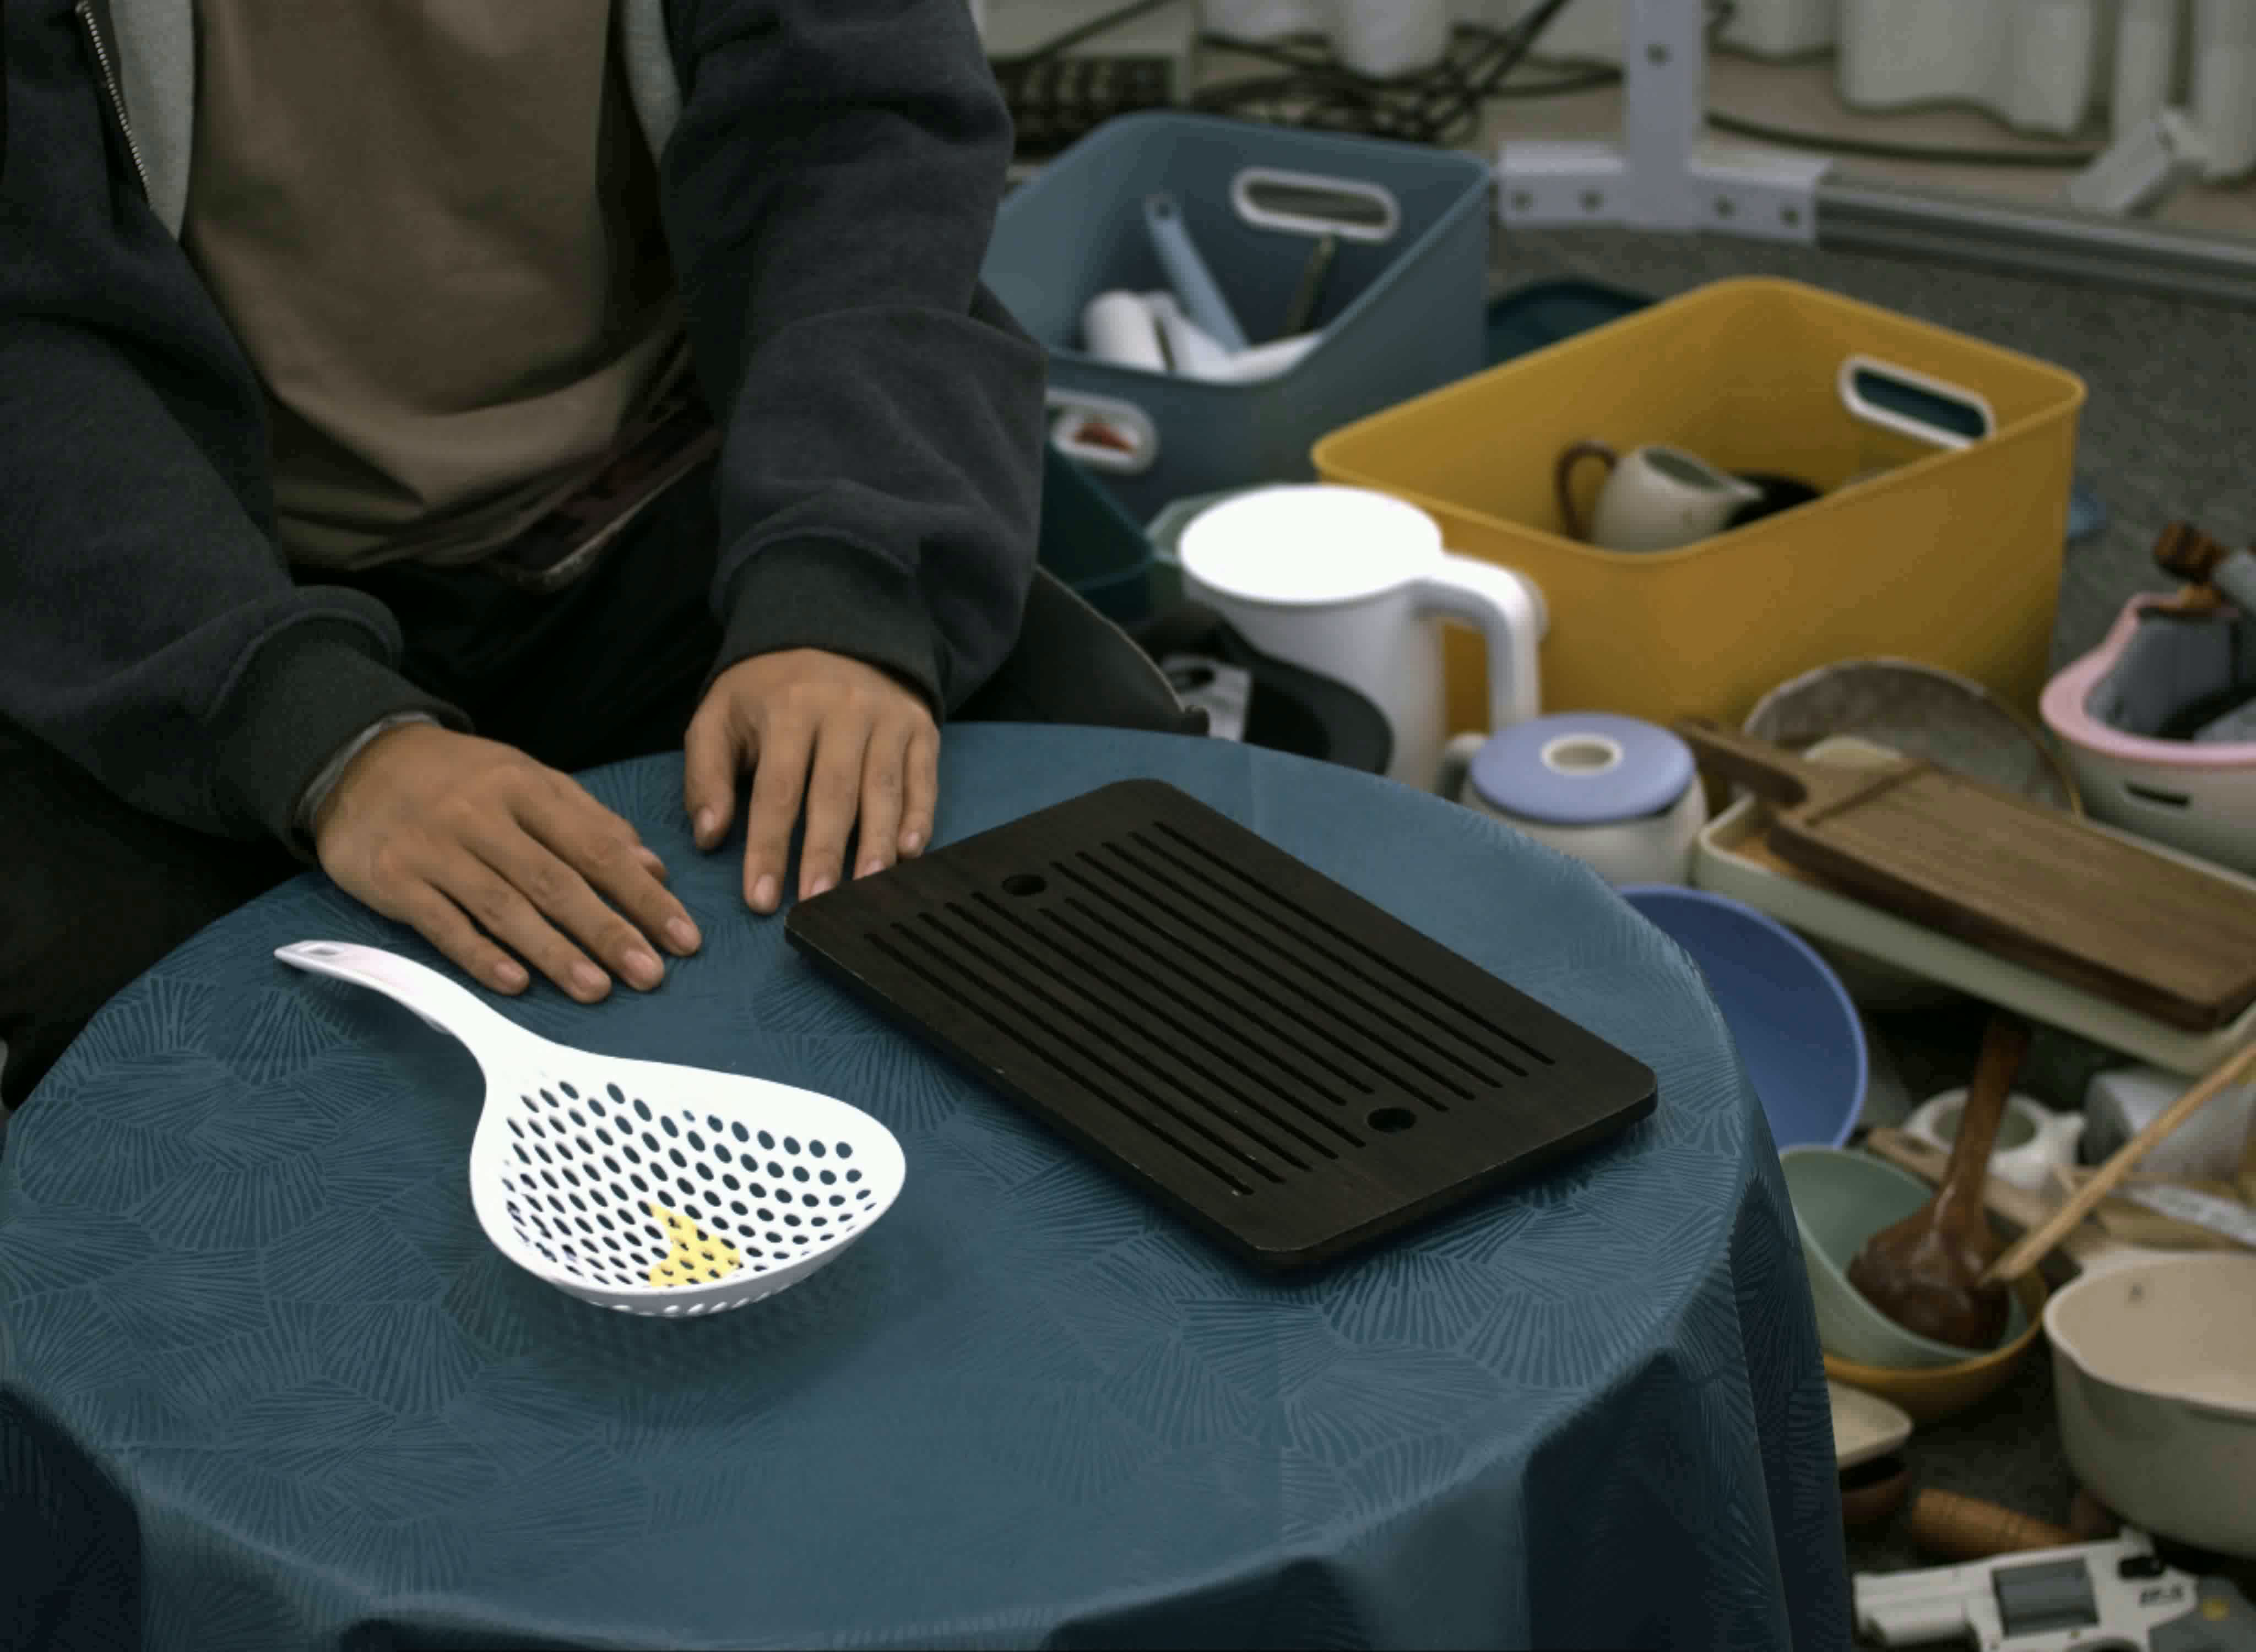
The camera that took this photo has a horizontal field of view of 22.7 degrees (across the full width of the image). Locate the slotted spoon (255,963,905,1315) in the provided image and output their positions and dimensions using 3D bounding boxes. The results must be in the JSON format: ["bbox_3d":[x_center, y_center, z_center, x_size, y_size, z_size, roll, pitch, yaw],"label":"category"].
[{"bbox_3d":[-0.203,0.091,1.896,0.138,0.050,0.348,-23,33,-29],"label":"slotted spoon"}]

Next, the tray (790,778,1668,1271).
[{"bbox_3d":[0.030,0.065,1.949,0.171,0.018,0.306,-20,32,-30],"label":"tray"}]
